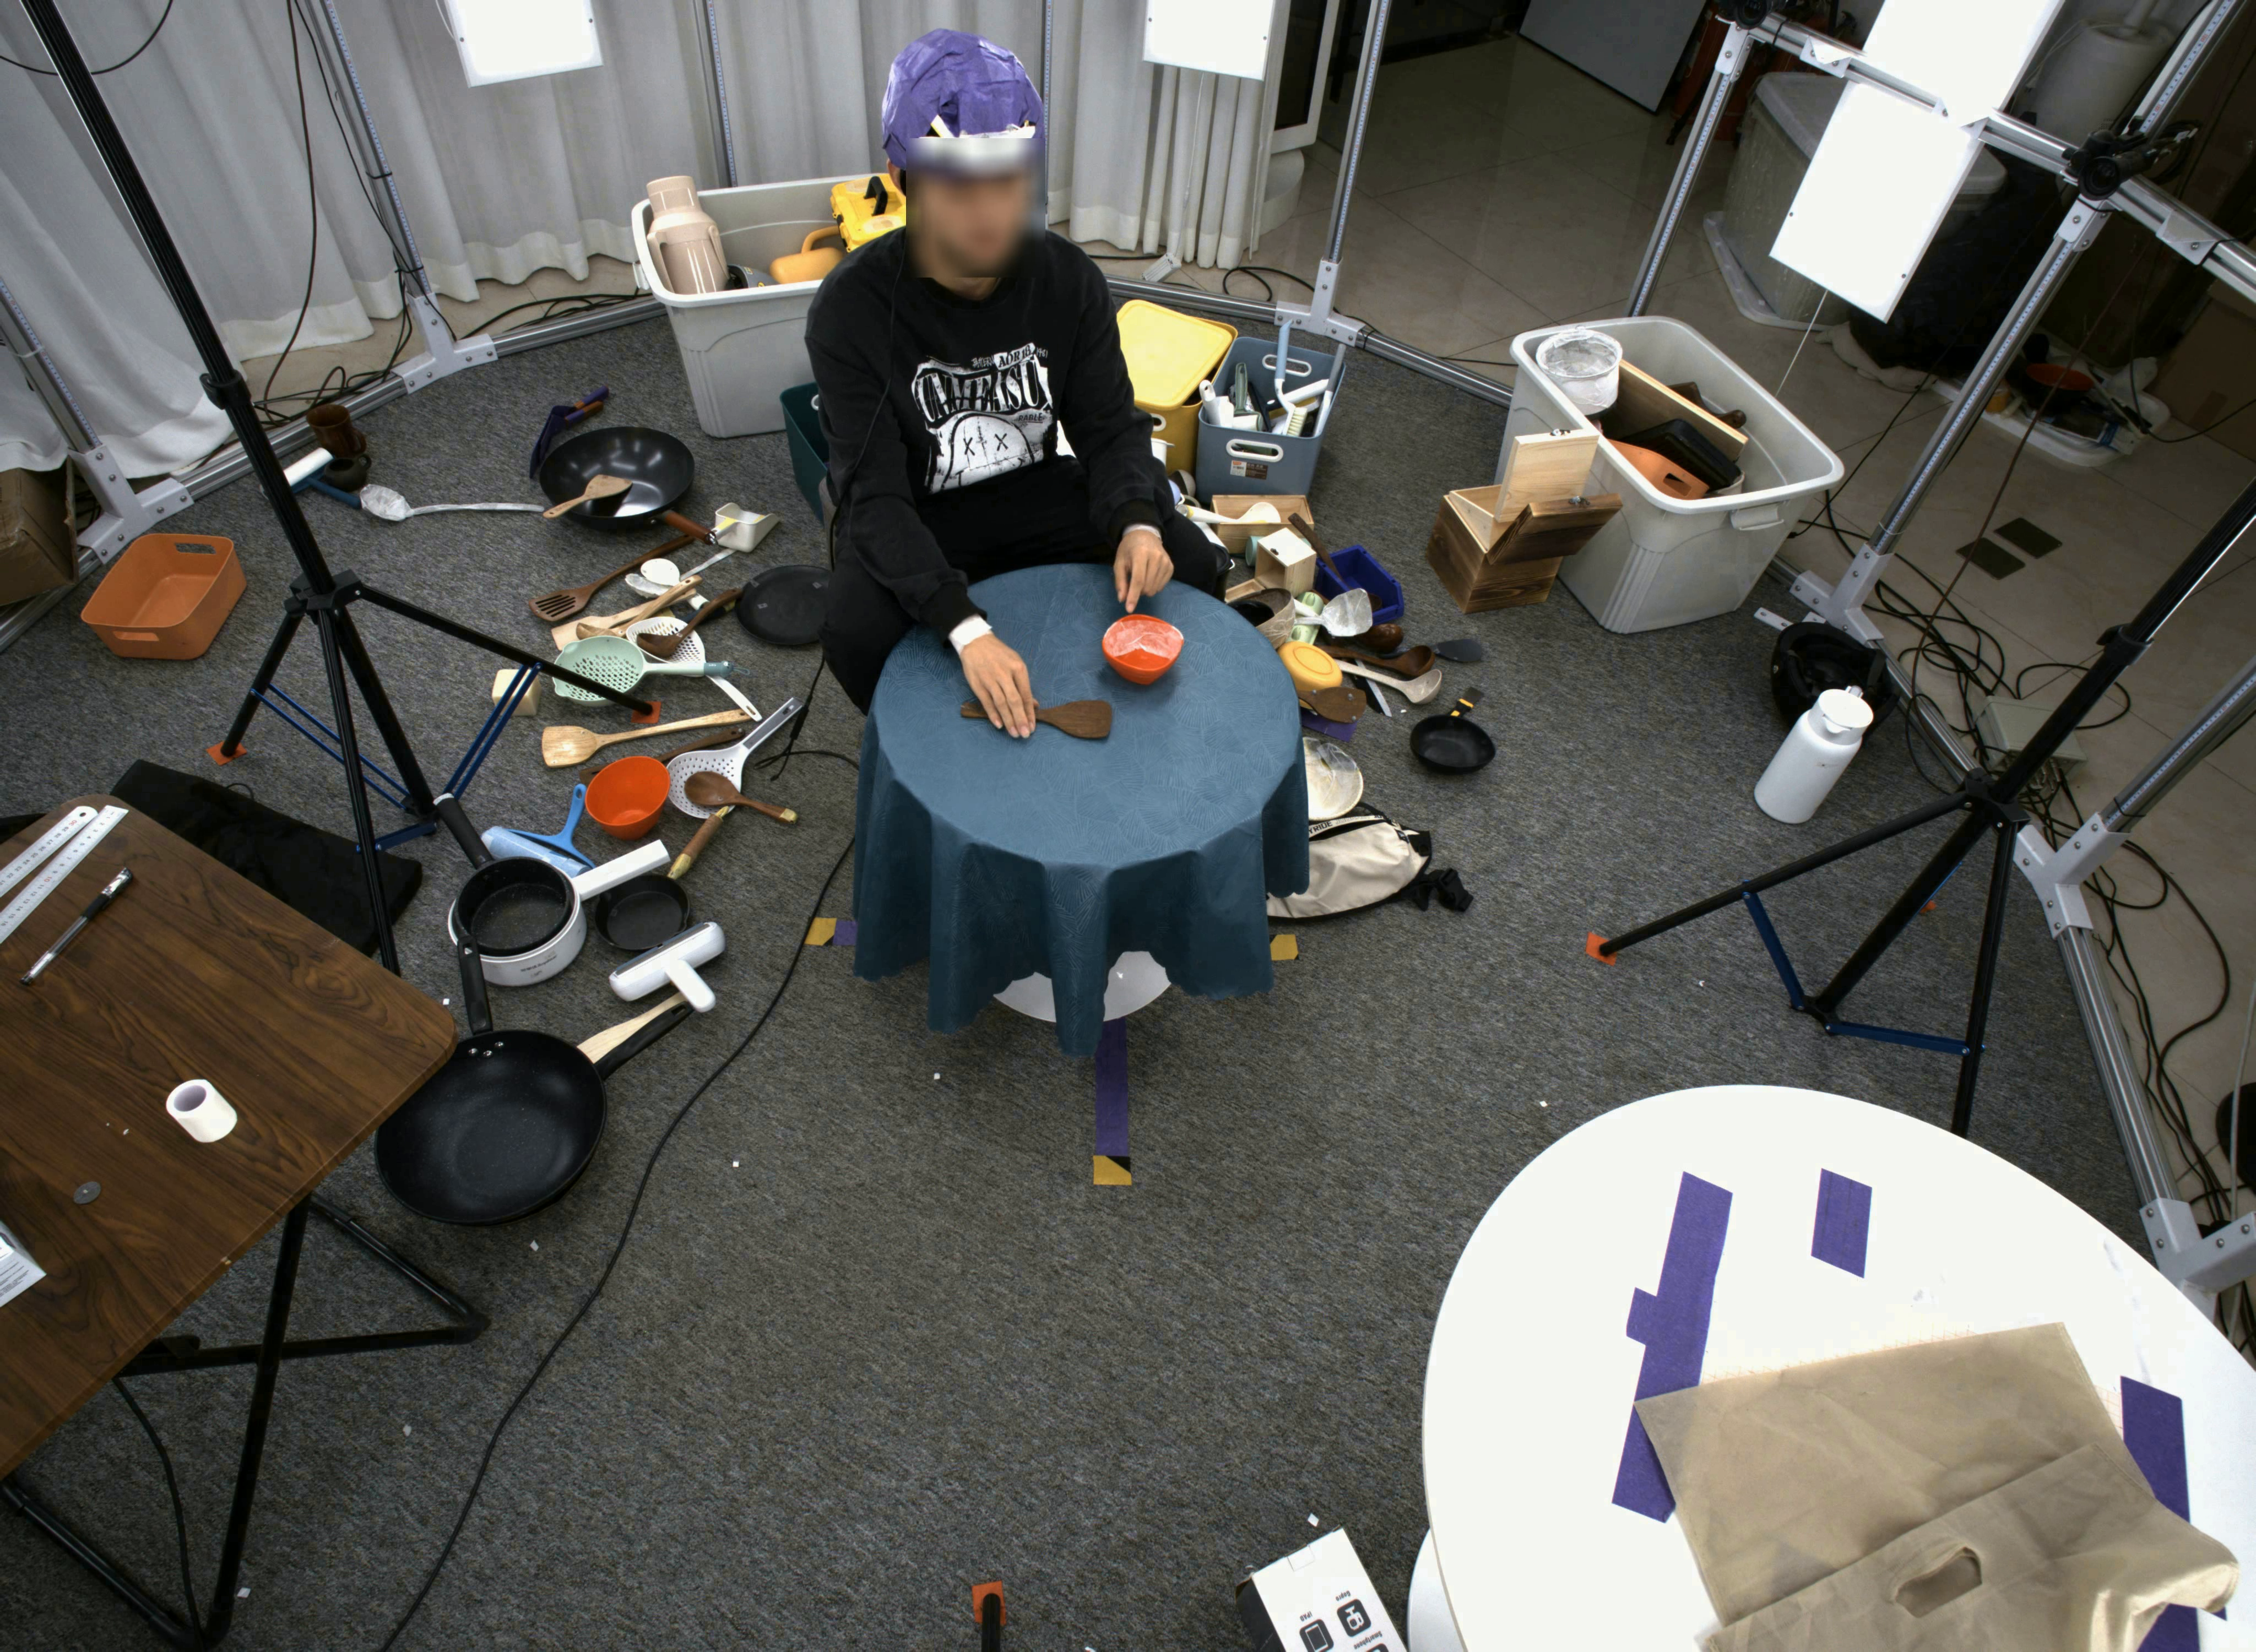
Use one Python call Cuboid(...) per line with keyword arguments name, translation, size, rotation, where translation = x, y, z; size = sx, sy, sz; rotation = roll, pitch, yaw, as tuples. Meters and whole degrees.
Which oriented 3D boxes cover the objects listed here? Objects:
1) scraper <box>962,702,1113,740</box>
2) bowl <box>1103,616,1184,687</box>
Cuboid(name="scraper", translation=(-0.127, -0.155, 1.805), size=(0.211, 0.010, 0.078), rotation=(4, 47, 1))
Cuboid(name="bowl", translation=(0.021, -0.248, 1.870), size=(0.119, 0.050, 0.122), rotation=(2, 51, -2))
